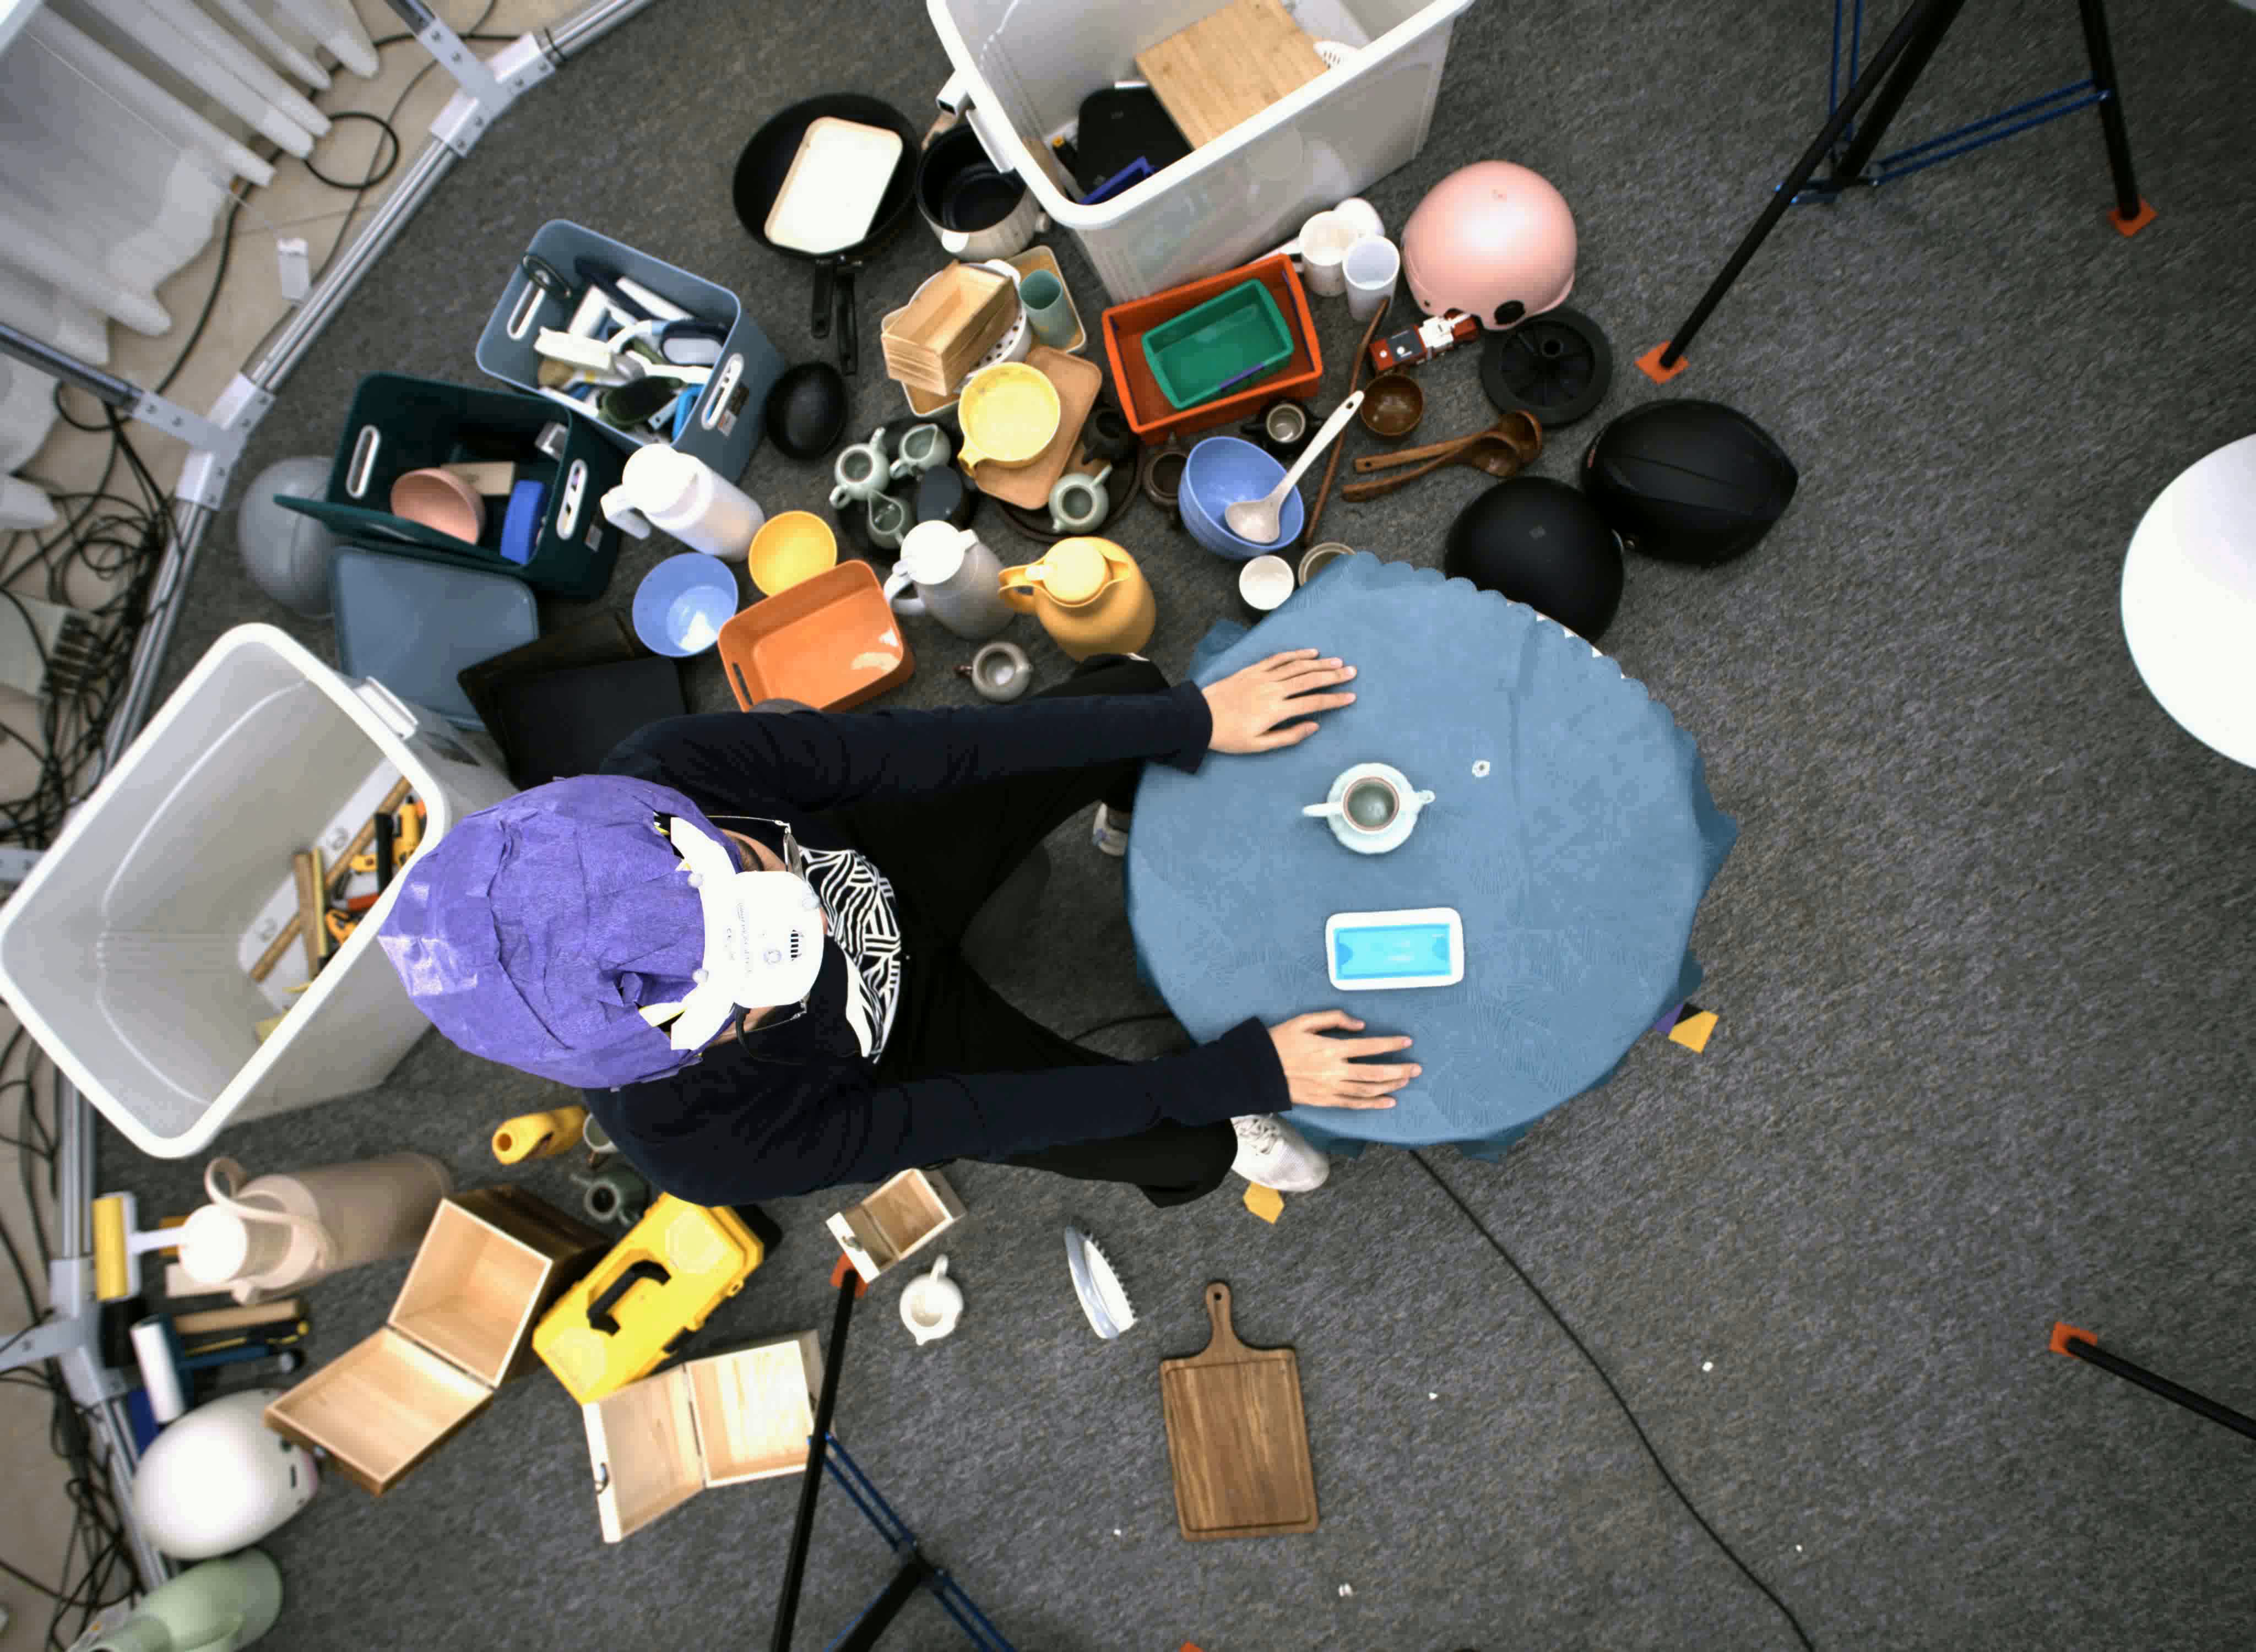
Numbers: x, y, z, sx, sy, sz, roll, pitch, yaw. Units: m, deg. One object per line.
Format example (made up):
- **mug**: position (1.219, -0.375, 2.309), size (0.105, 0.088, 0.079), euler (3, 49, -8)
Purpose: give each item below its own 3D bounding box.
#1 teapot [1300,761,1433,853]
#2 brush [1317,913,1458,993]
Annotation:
- **teapot**: position (0.248, -0.022, 1.437), size (0.137, 0.061, 0.096), euler (-8, 87, 9)
- **brush**: position (0.268, 0.128, 1.425), size (0.144, 0.056, 0.083), euler (-2, 83, 8)
